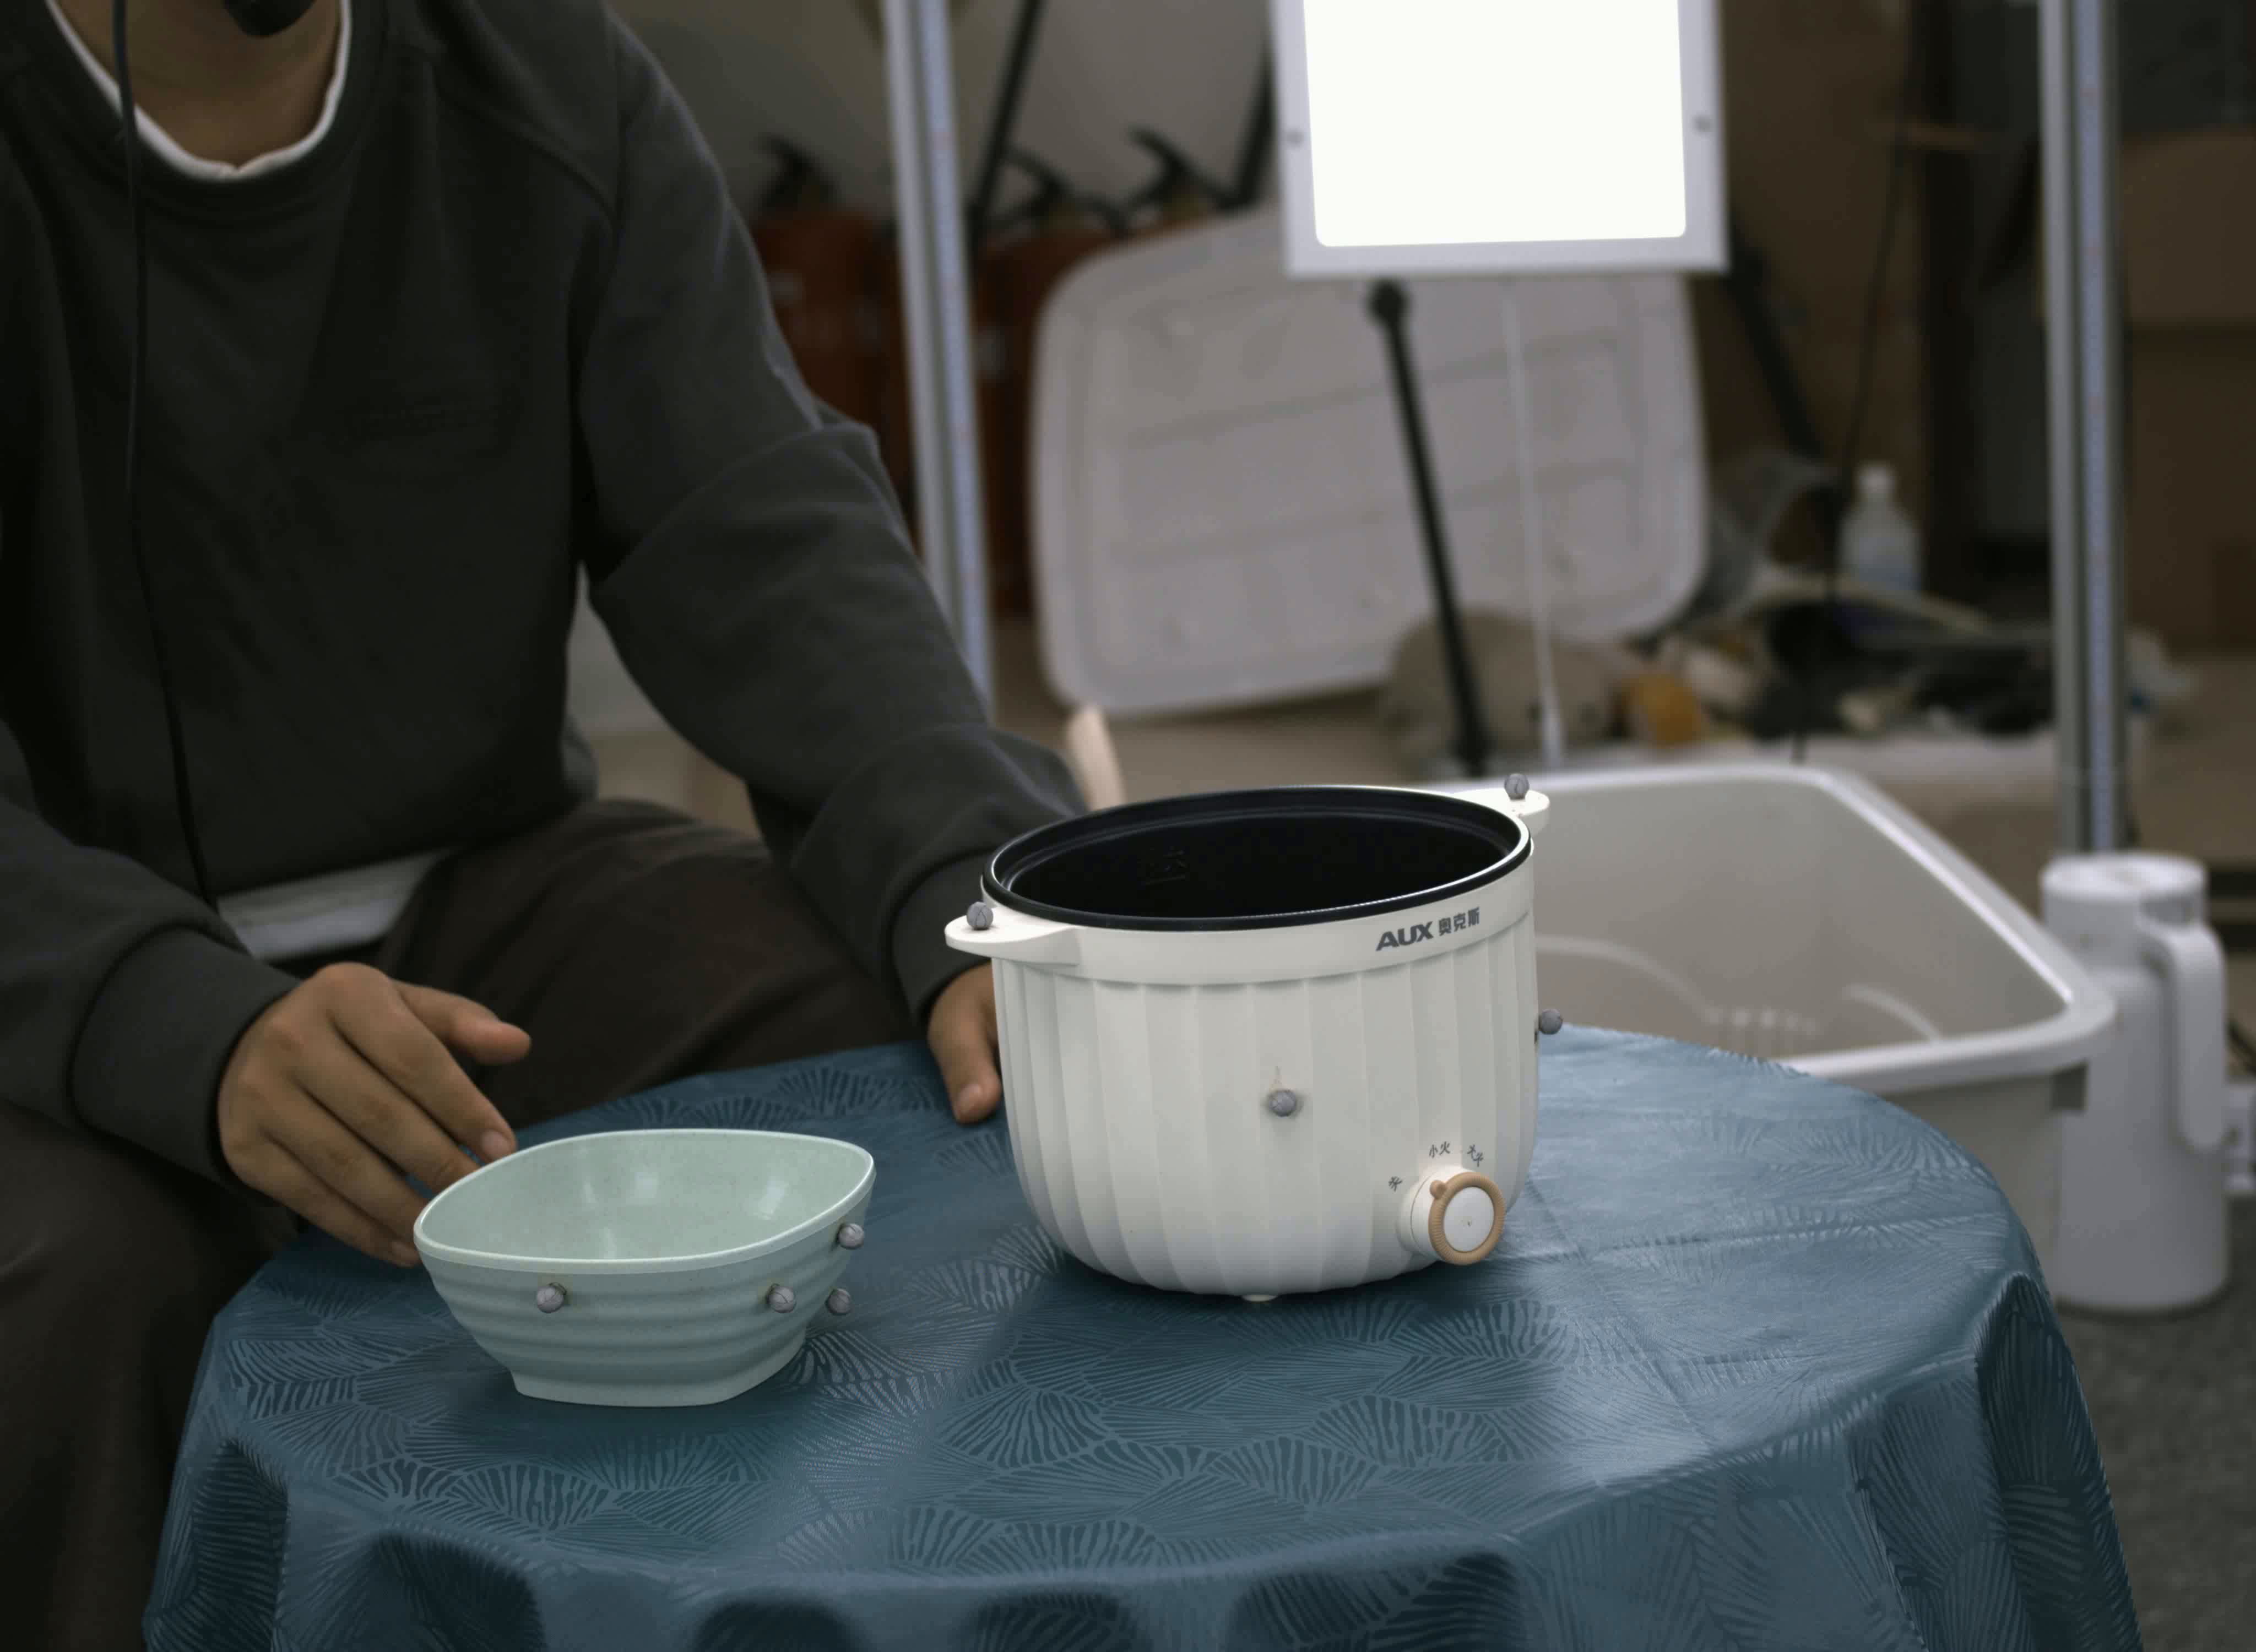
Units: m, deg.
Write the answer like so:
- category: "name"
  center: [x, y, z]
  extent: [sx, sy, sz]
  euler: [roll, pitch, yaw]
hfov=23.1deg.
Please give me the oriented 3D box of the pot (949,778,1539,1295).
- category: "pot"
  center: [0.051, 0.070, 1.812]
  extent: [0.234, 0.143, 0.194]
  euler: [-16, 14, -34]

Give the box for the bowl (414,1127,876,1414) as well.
- category: "bowl"
  center: [-0.151, 0.145, 1.759]
  extent: [0.151, 0.059, 0.151]
  euler: [-4, 15, 0]
